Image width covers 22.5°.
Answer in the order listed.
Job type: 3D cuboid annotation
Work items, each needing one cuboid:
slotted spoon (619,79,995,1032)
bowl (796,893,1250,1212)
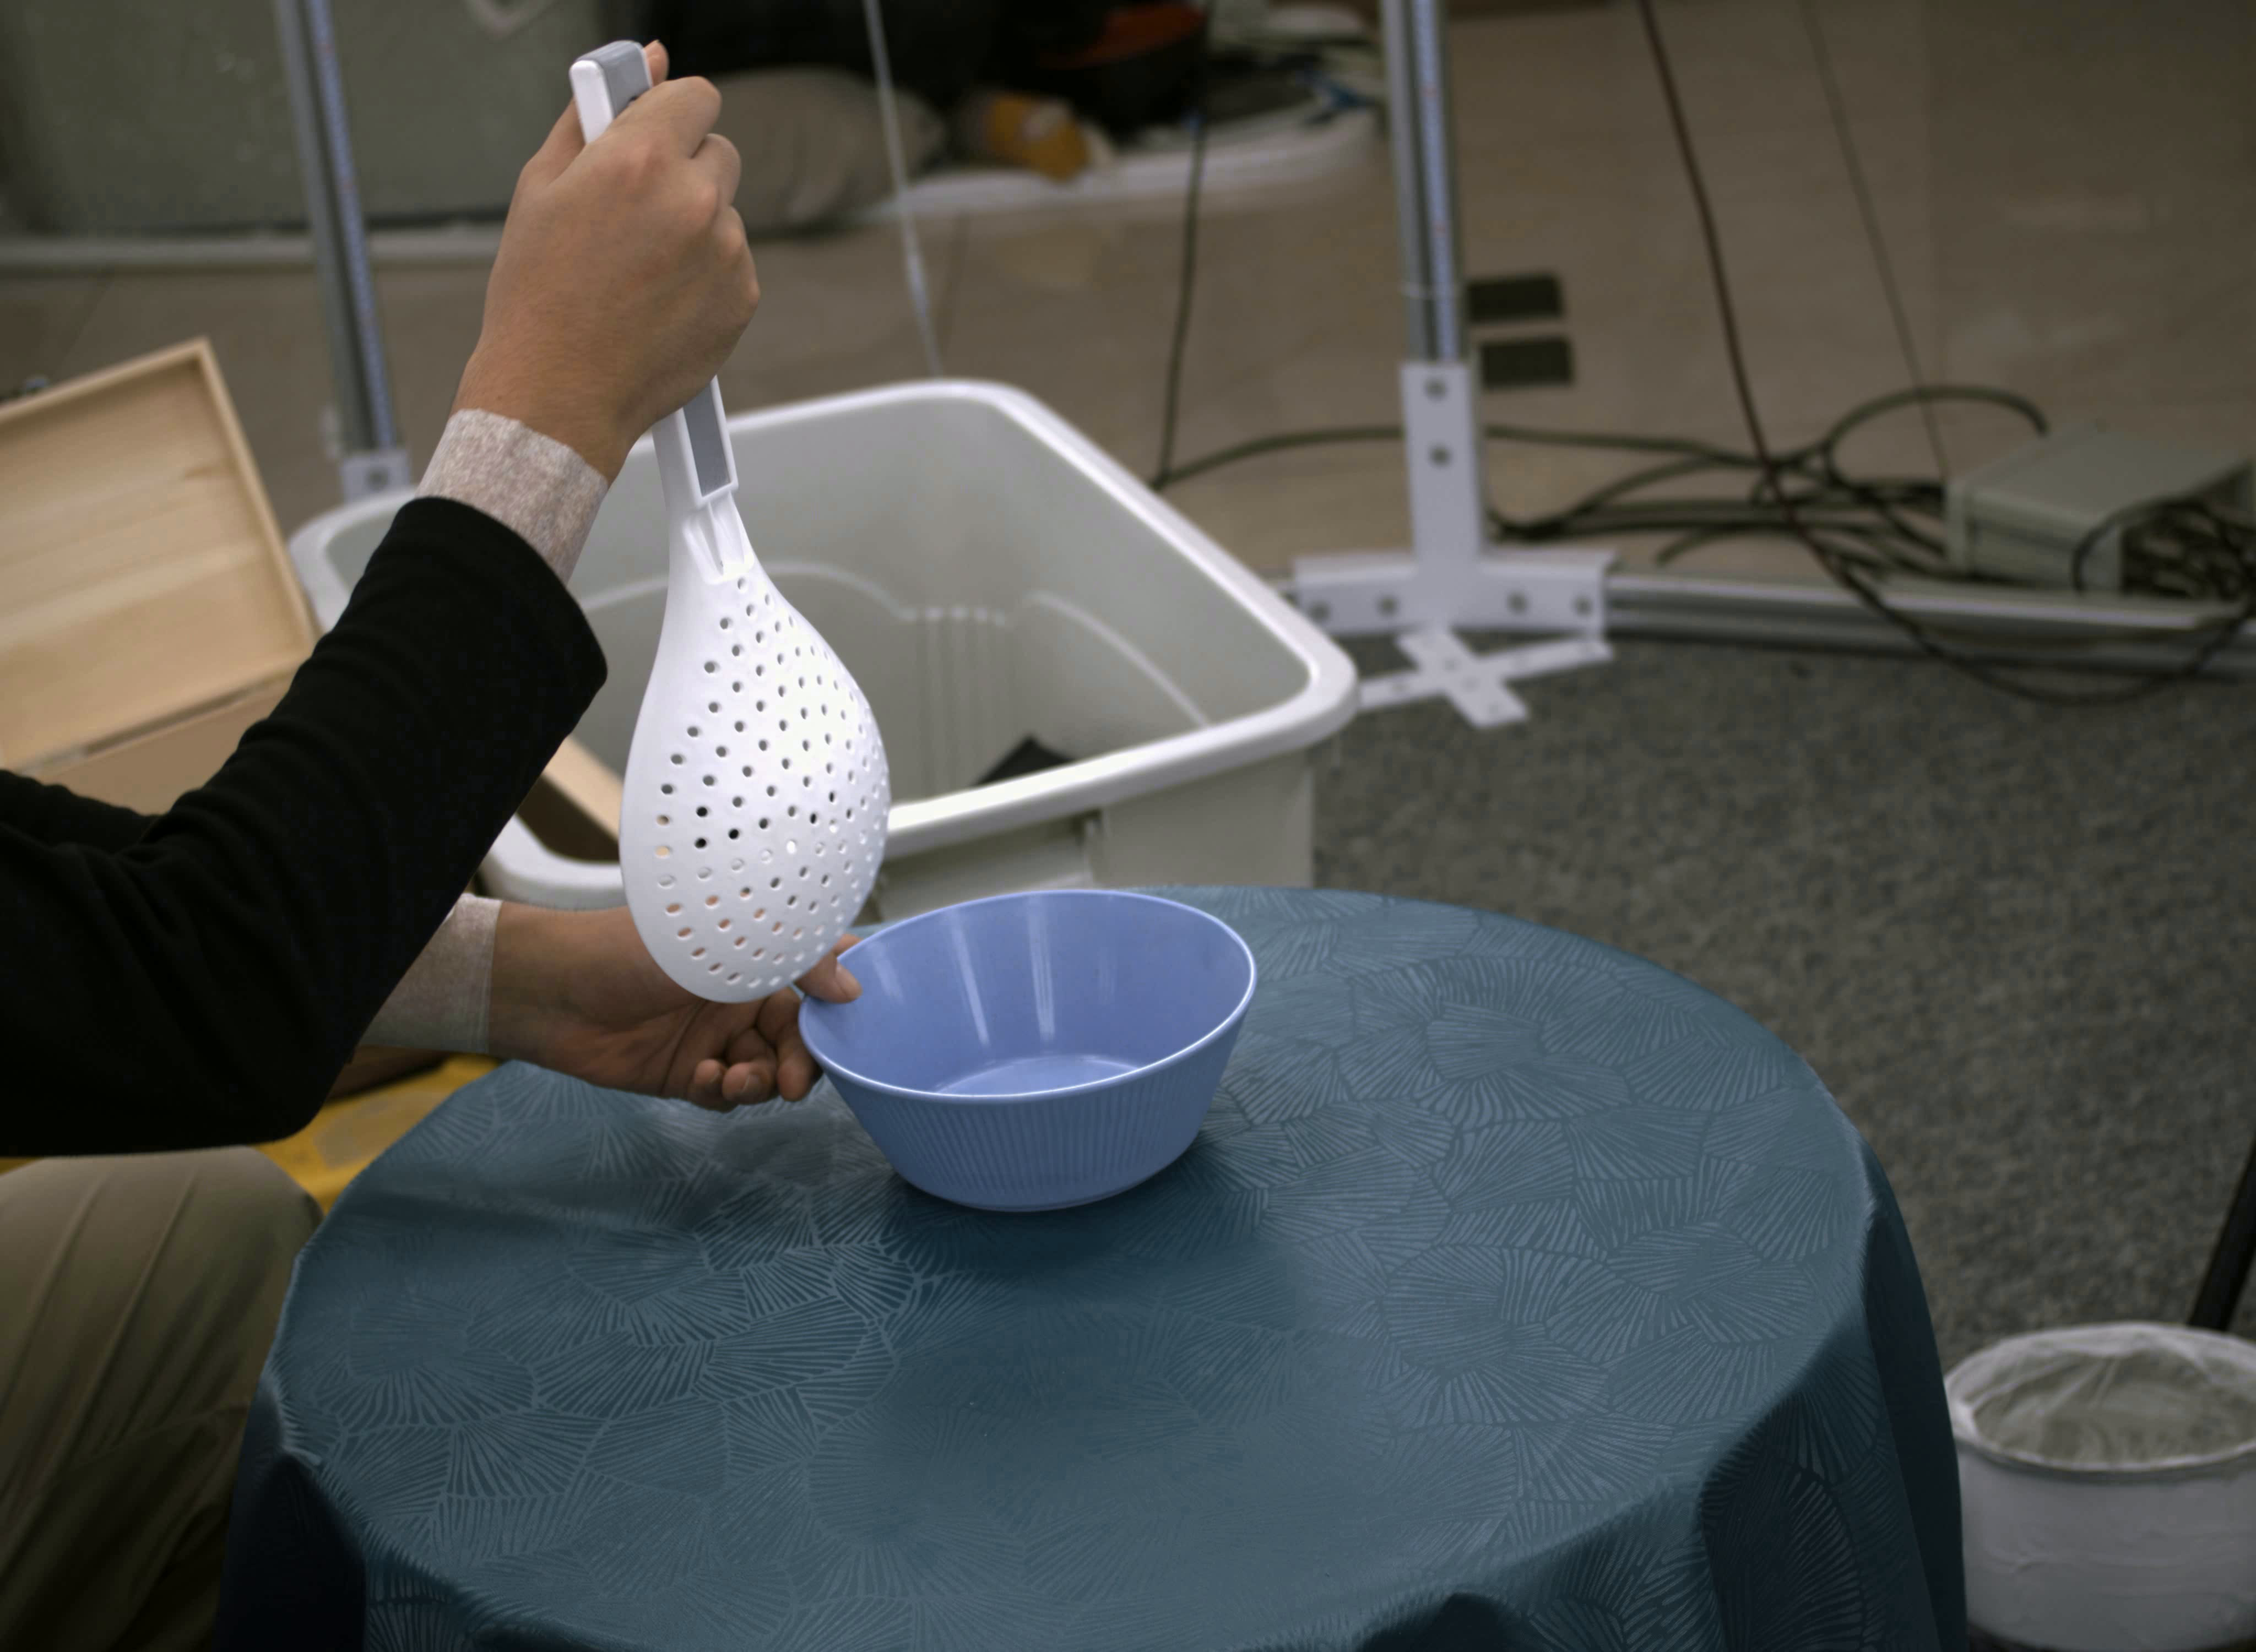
[{"bbox_3d":[-0.118,-0.090,1.953,0.135,0.354,0.045,-32,26,-35],"label":"slotted spoon"},{"bbox_3d":[-0.037,0.093,2.174,0.176,0.071,0.173,-6,26,3],"label":"bowl"}]
